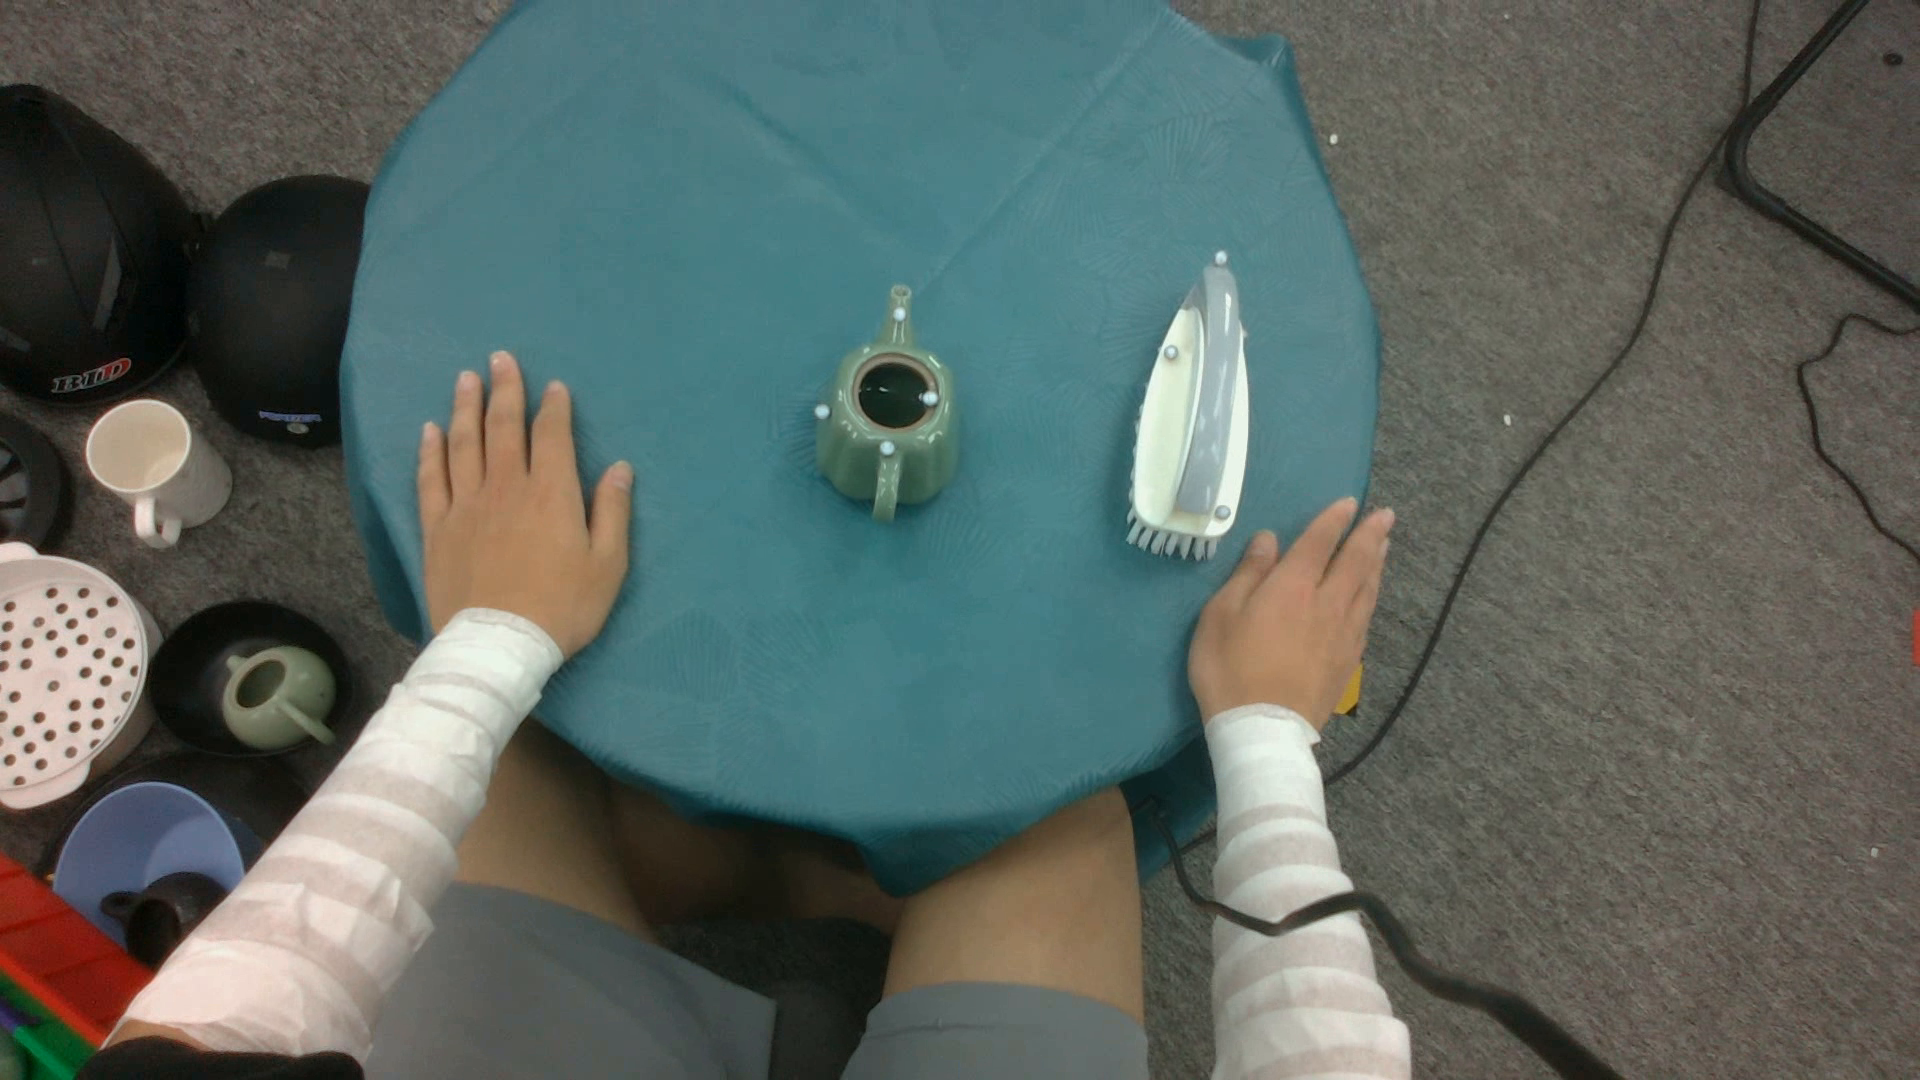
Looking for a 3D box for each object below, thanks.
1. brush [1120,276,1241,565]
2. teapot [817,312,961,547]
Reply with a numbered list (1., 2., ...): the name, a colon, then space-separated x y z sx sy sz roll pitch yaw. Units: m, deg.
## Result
1. brush: 0.132 -0.082 0.781 0.061 0.094 0.176 10 67 -5
2. teapot: -0.039 -0.053 0.762 0.080 0.075 0.133 5 71 -2
